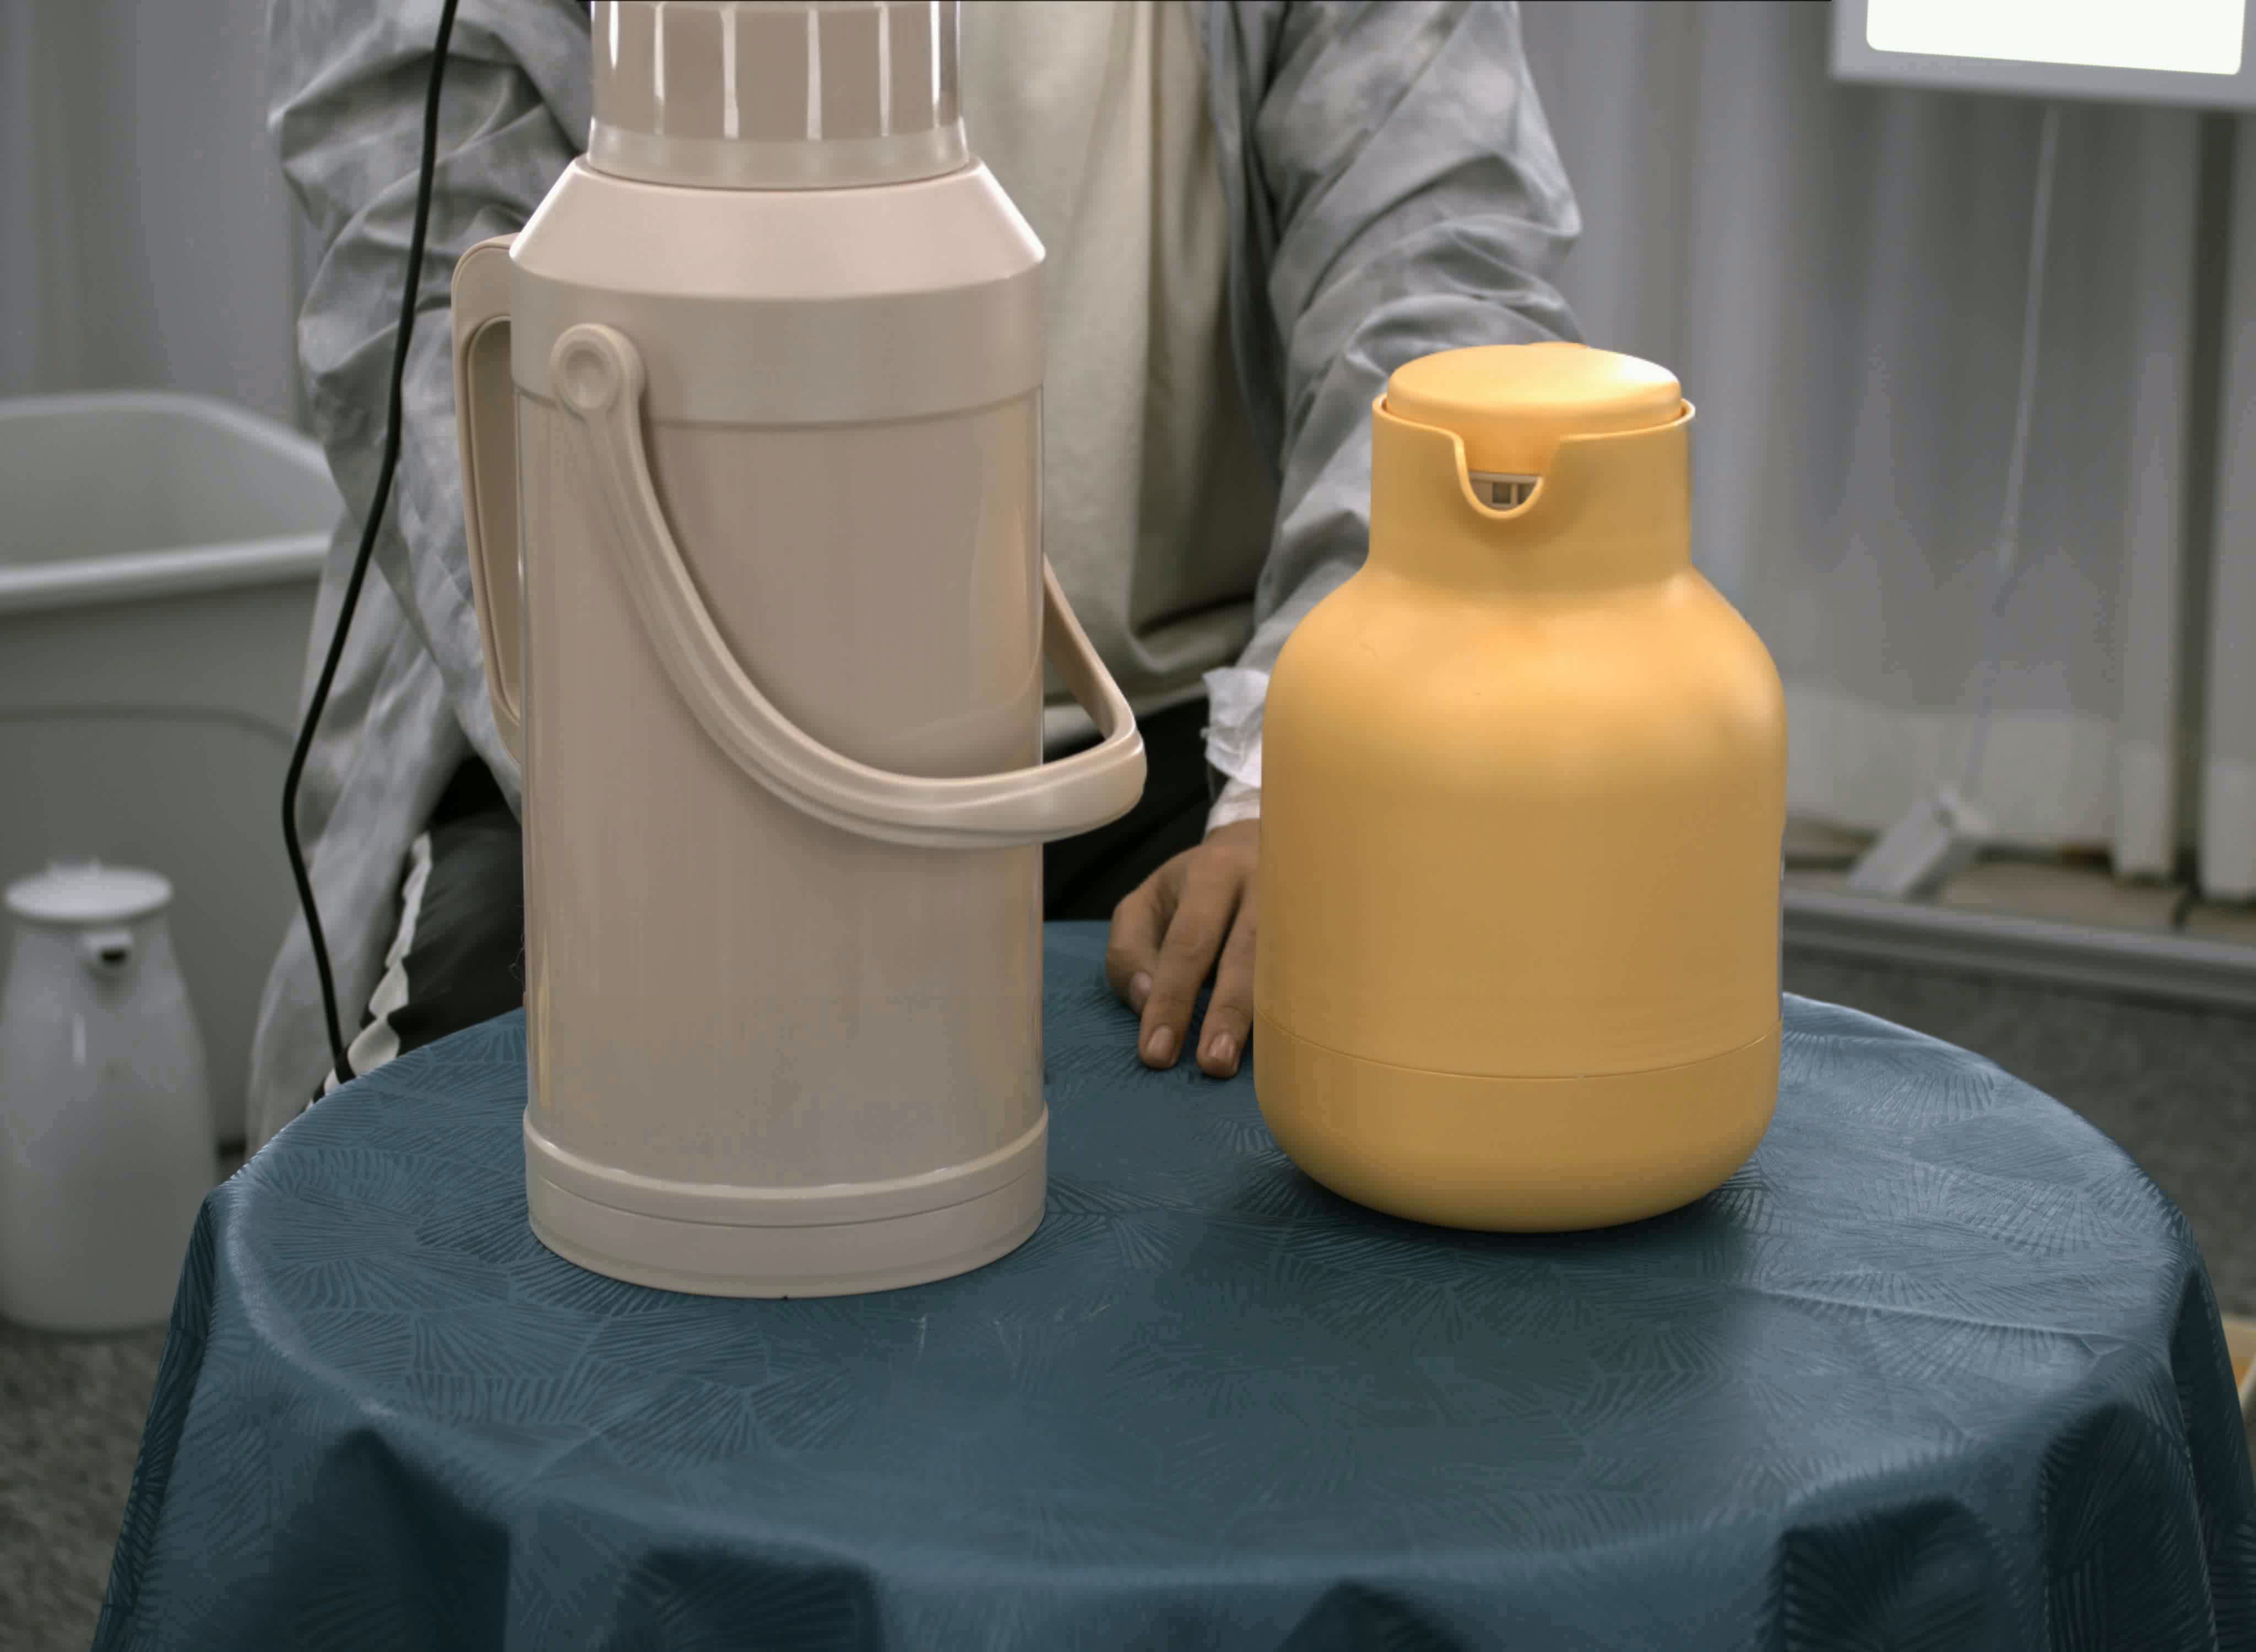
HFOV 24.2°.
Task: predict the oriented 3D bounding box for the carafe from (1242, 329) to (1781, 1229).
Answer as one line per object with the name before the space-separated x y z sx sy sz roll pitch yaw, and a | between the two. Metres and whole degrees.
carafe | 0.124 -0.022 1.625 0.162 0.262 0.202 6 18 12

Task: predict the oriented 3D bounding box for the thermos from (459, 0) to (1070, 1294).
thermos | -0.113 -0.078 1.559 0.204 0.410 0.176 12 21 33
